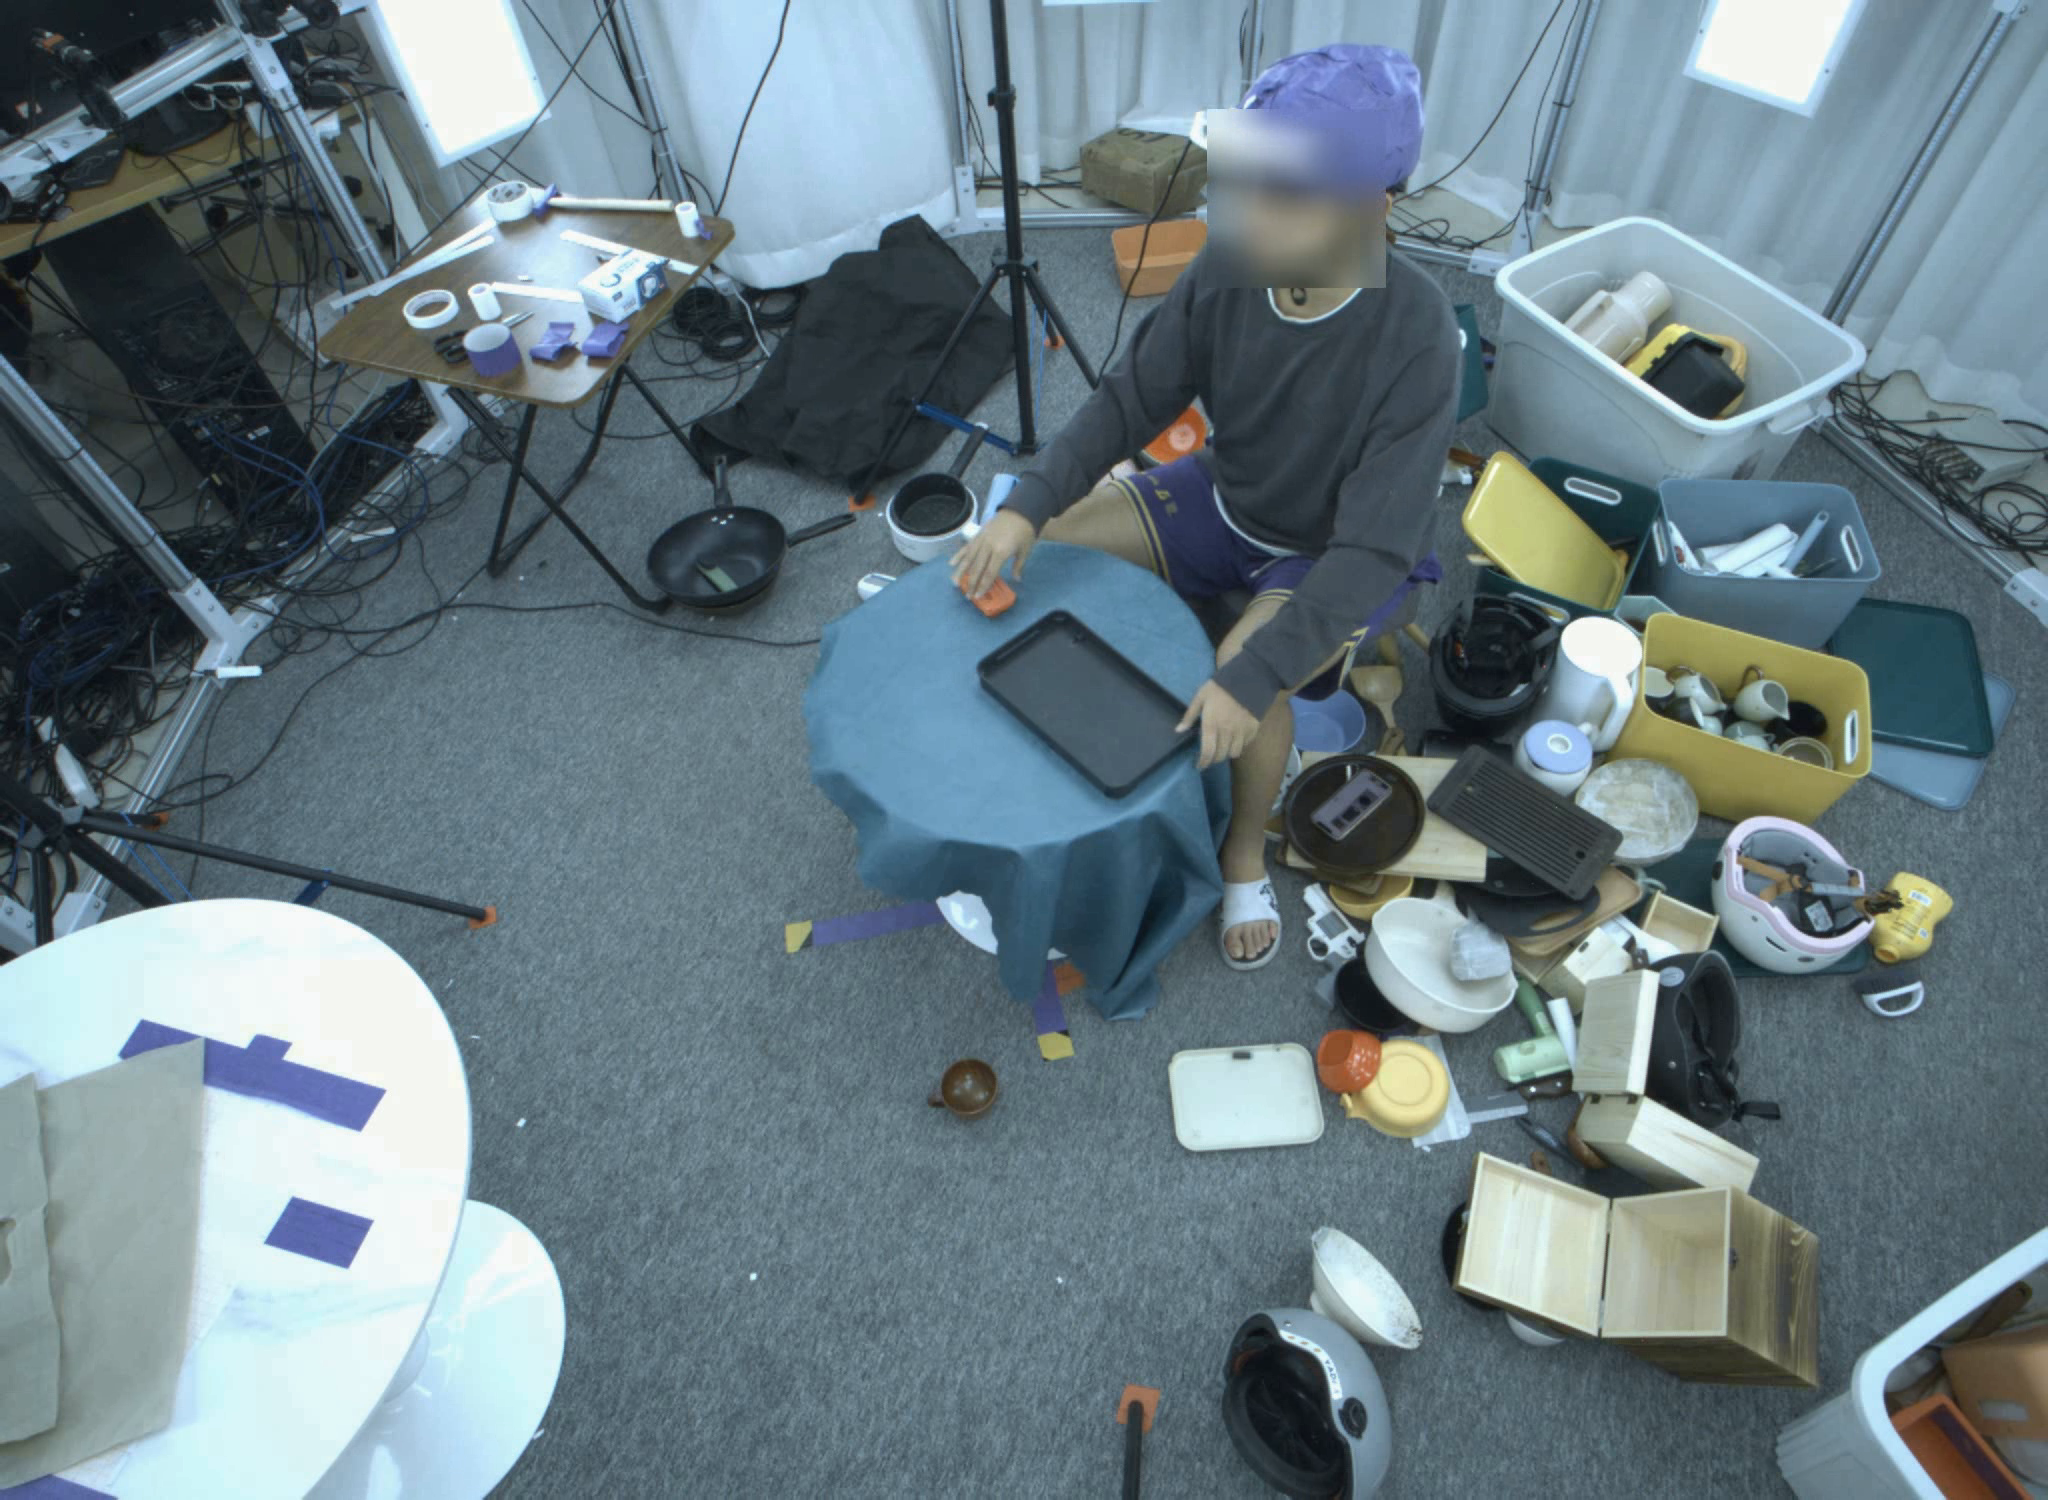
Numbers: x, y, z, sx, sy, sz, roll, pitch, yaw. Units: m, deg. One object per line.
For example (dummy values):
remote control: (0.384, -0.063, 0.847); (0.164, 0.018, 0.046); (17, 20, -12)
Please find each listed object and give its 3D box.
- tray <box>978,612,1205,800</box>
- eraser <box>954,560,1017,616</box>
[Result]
tray: (0.096, -0.071, 1.816); (0.185, 0.037, 0.312); (-38, 61, -23)
eraser: (-0.063, -0.260, 1.958); (0.059, 0.023, 0.106); (-27, 56, -25)
